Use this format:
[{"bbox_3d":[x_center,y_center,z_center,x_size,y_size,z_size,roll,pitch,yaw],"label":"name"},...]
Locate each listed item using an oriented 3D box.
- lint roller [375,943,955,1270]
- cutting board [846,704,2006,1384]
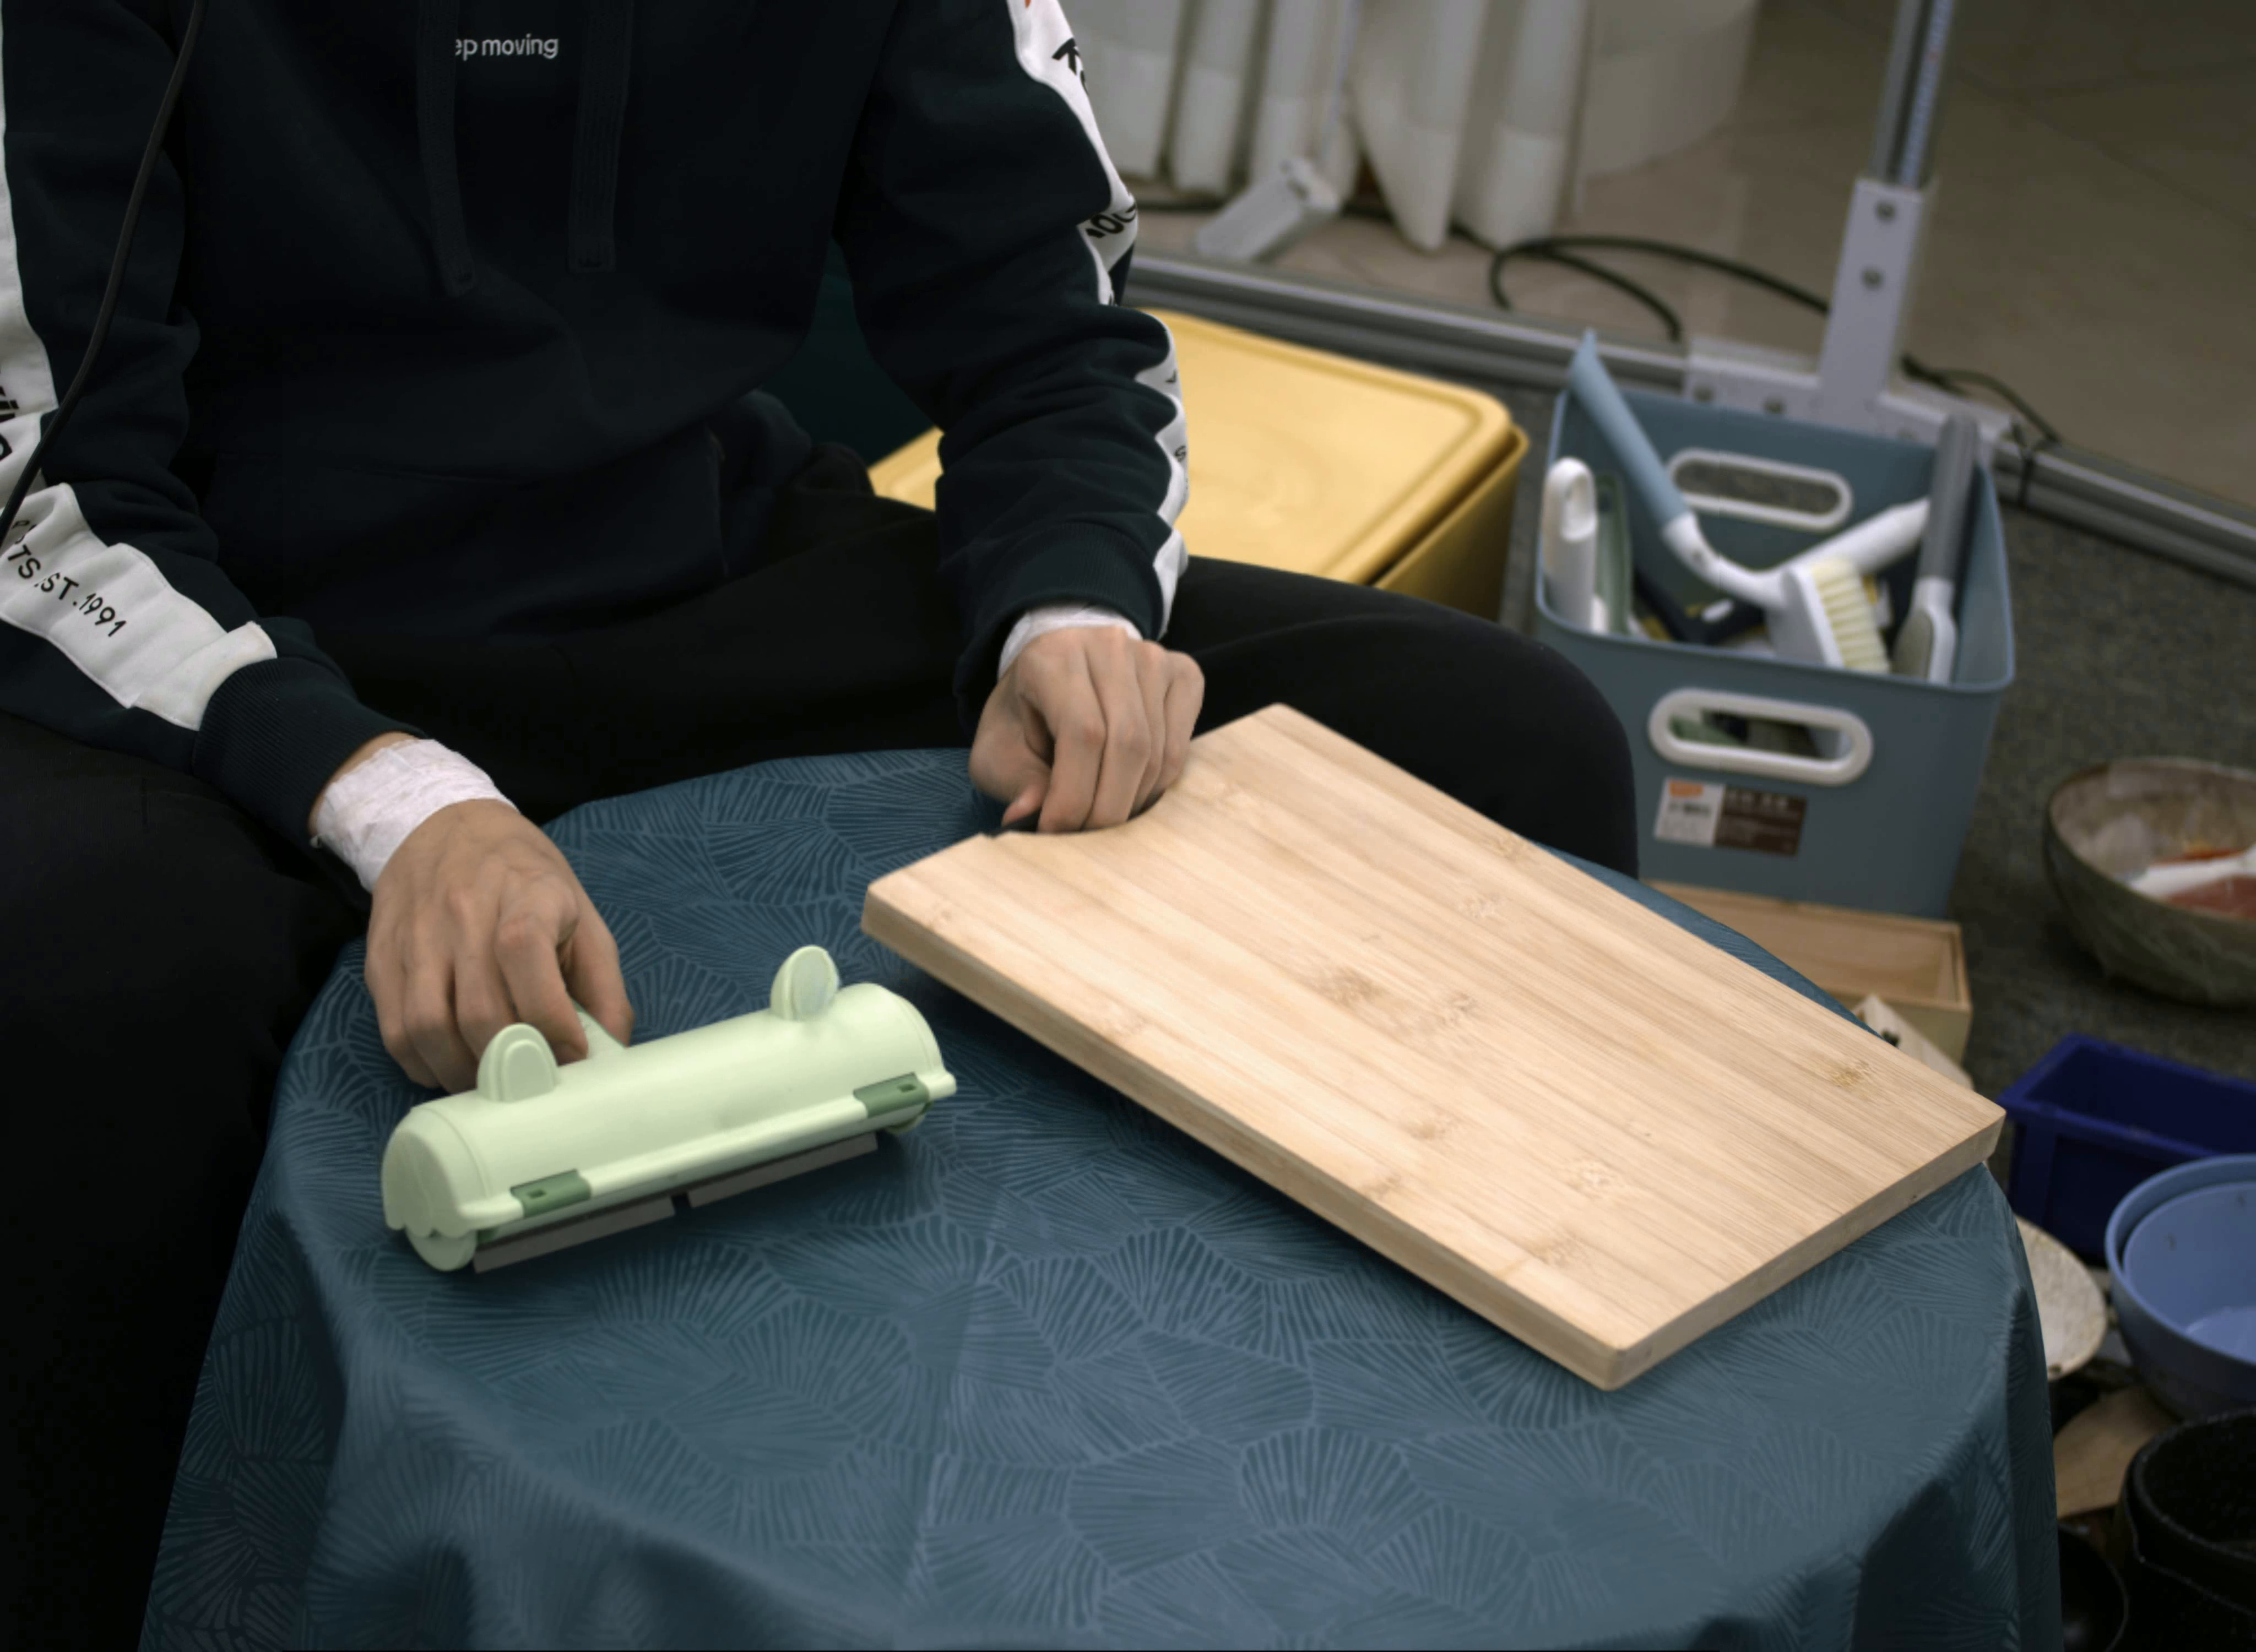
[{"bbox_3d":[-0.185,0.066,1.787,0.197,0.082,0.185,-15,38,-35],"label":"lint roller"},{"bbox_3d":[0.104,0.069,1.887,0.351,0.023,0.250,29,34,30],"label":"cutting board"}]
